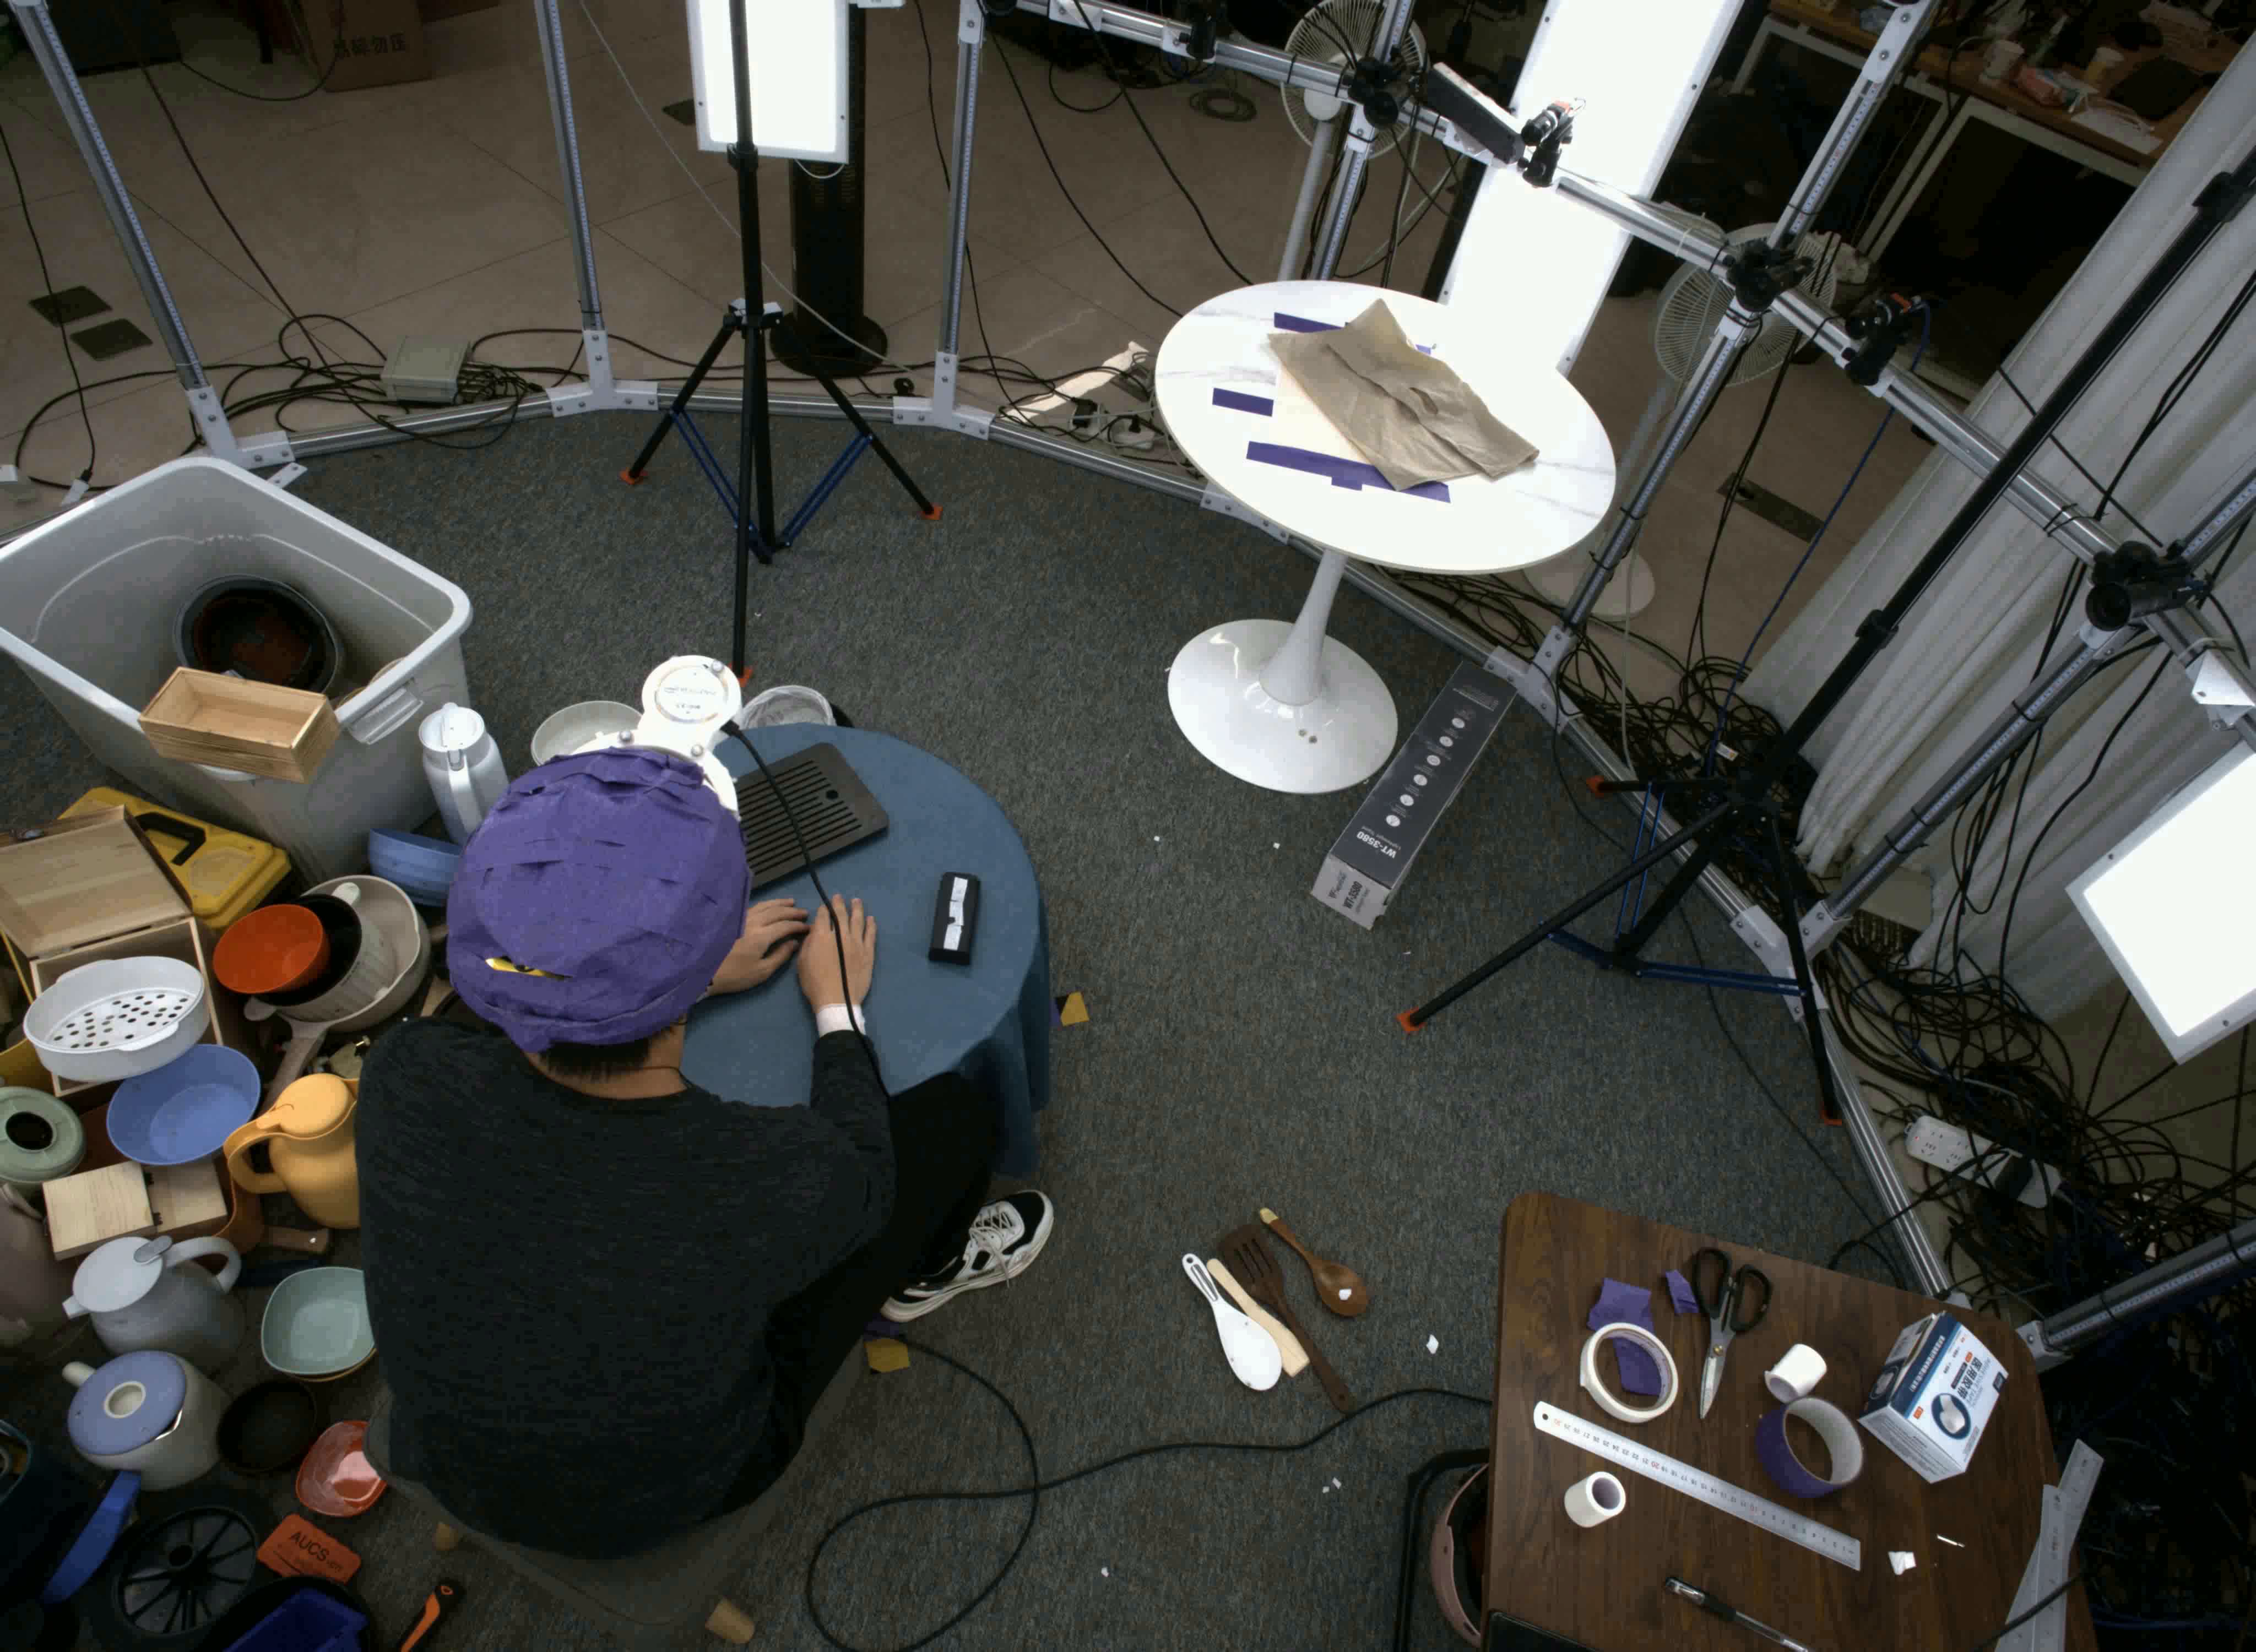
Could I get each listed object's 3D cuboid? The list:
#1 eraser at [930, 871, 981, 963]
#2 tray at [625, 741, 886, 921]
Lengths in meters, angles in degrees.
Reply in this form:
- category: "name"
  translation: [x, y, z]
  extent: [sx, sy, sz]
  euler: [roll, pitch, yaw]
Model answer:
- category: "eraser"
  translation: [-0.220, 0.113, 1.670]
  extent: [0.053, 0.031, 0.123]
  euler: [6, 54, -6]
- category: "tray"
  translation: [-0.485, 0.001, 1.691]
  extent: [0.307, 0.019, 0.166]
  euler: [-28, 65, -30]
